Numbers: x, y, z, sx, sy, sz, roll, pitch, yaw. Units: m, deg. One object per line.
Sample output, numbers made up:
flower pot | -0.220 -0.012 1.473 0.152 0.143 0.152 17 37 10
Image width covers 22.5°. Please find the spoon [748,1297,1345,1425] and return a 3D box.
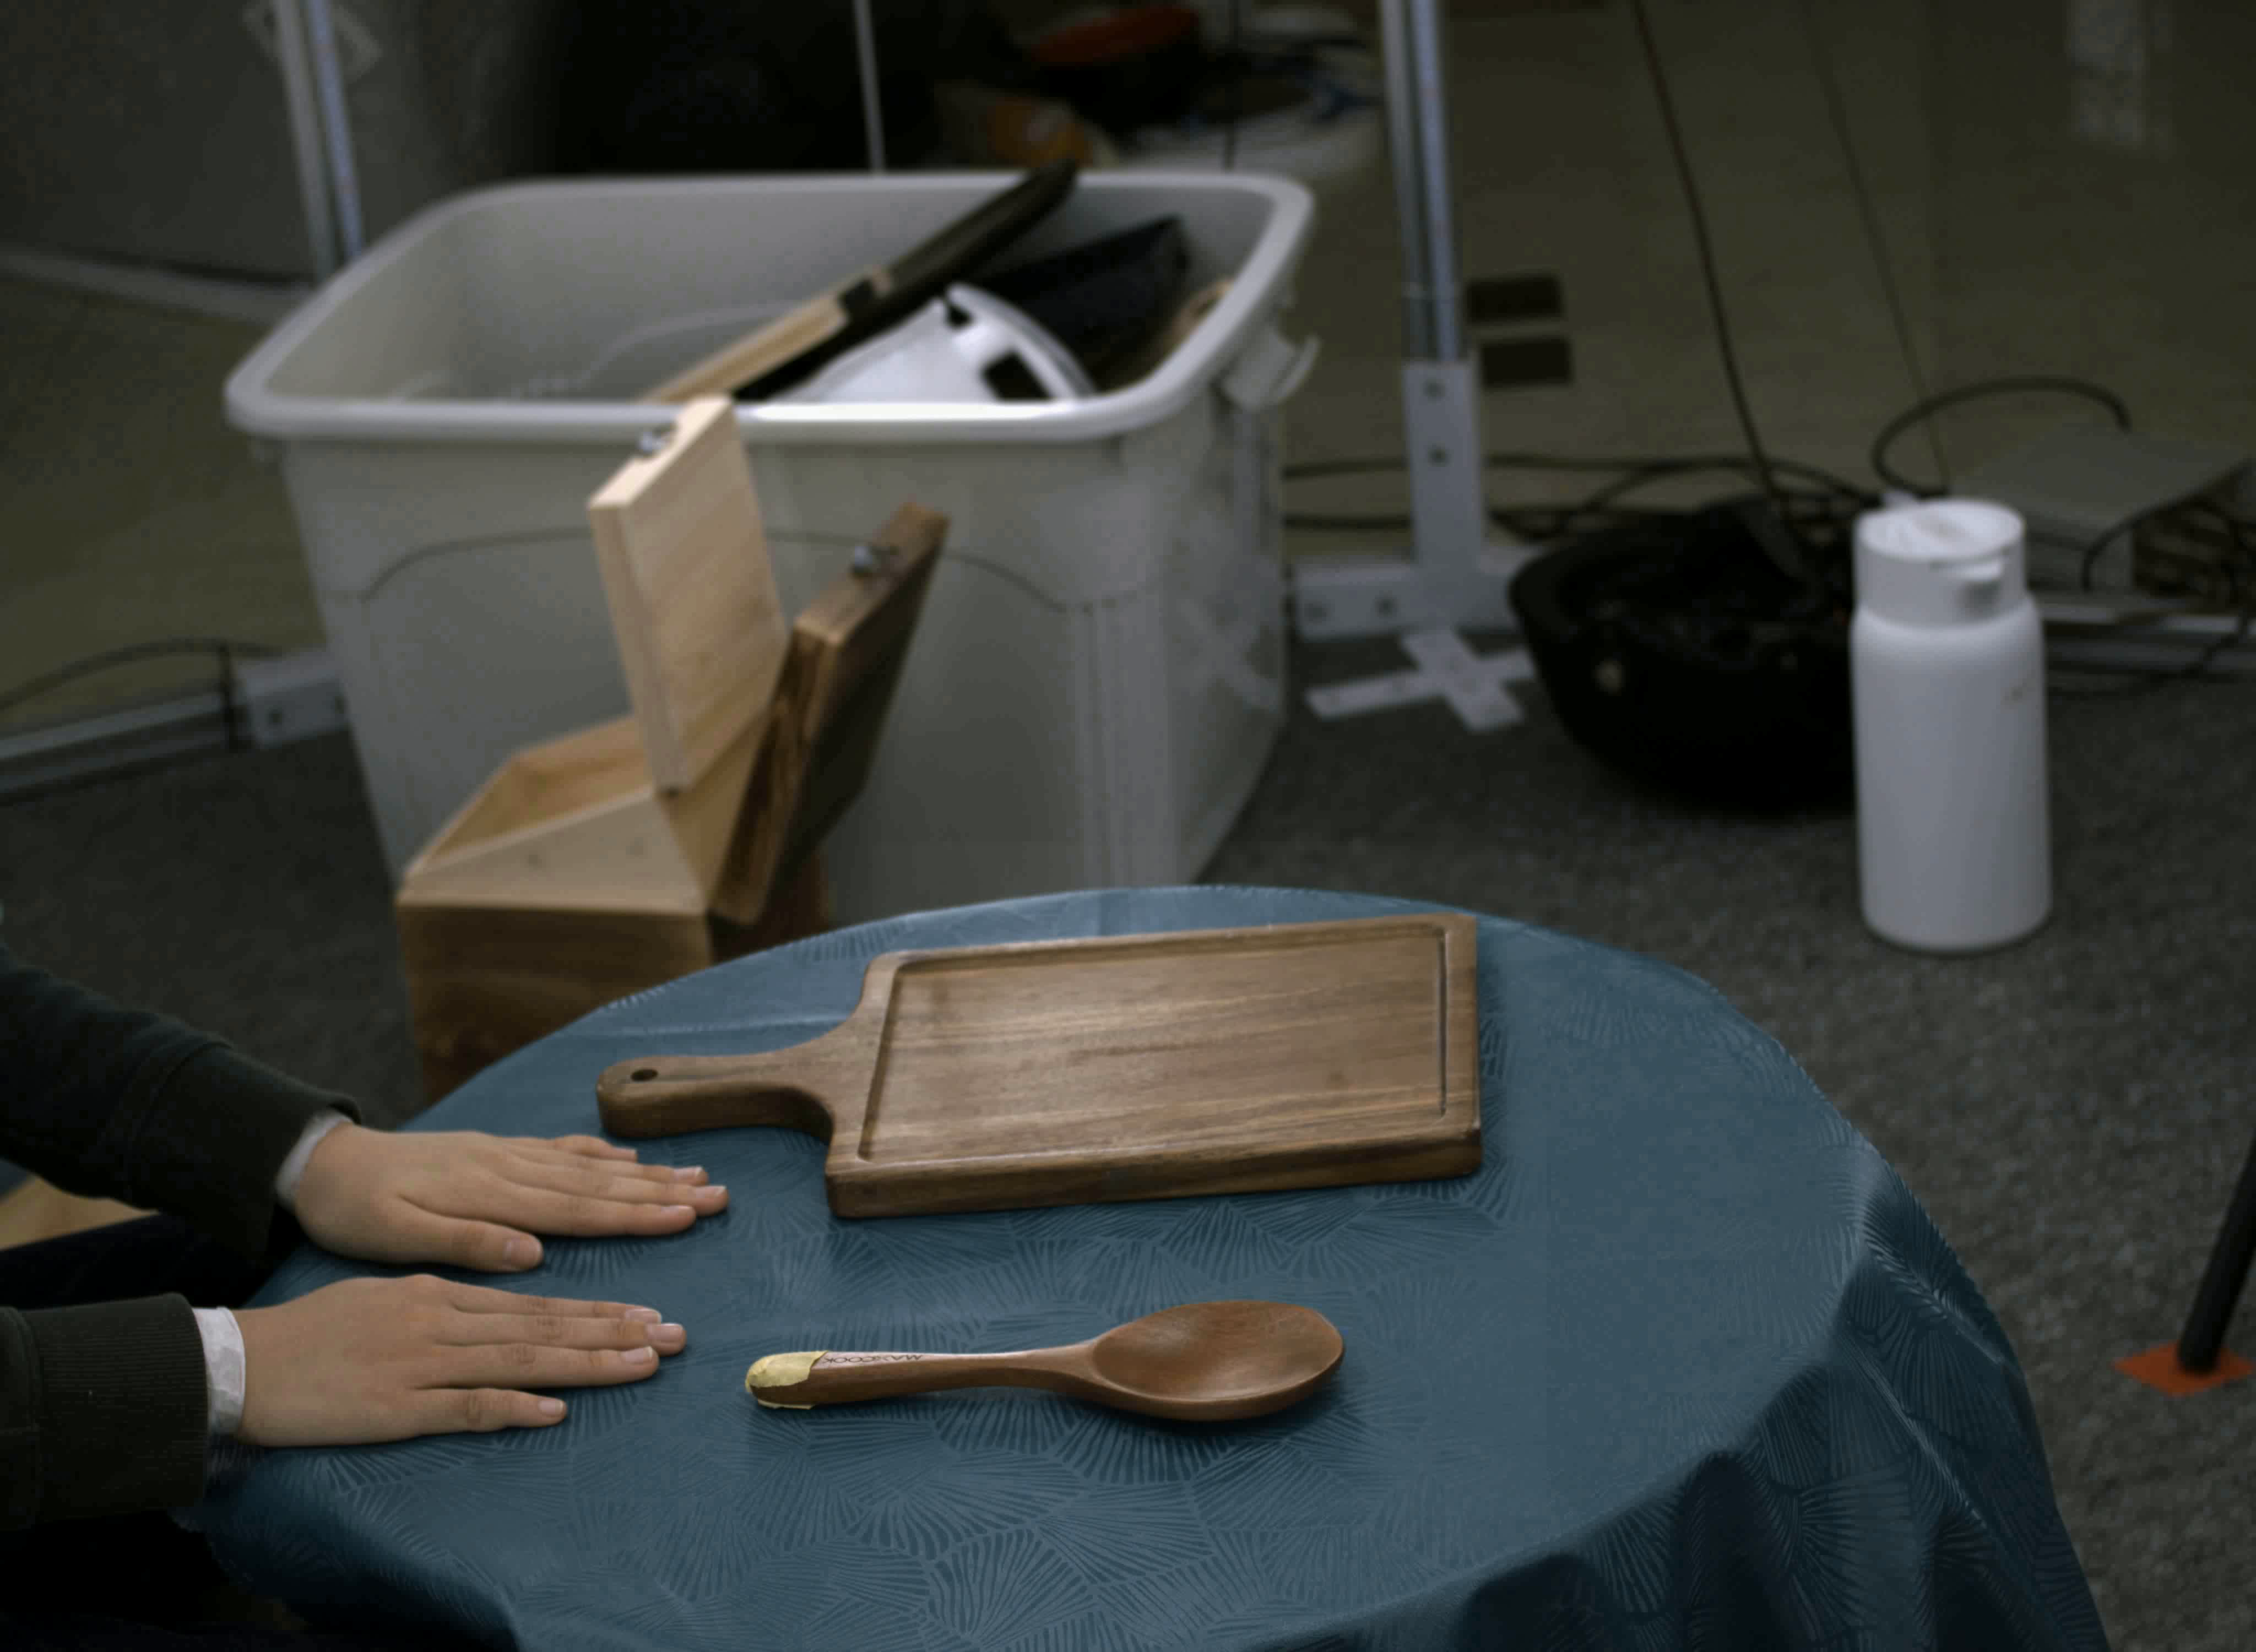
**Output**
spoon | -0.030 0.194 2.022 0.215 0.017 0.074 -2 27 9

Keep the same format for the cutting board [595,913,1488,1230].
cutting board | -0.035 0.098 2.230 0.351 0.023 0.198 -4 26 5
